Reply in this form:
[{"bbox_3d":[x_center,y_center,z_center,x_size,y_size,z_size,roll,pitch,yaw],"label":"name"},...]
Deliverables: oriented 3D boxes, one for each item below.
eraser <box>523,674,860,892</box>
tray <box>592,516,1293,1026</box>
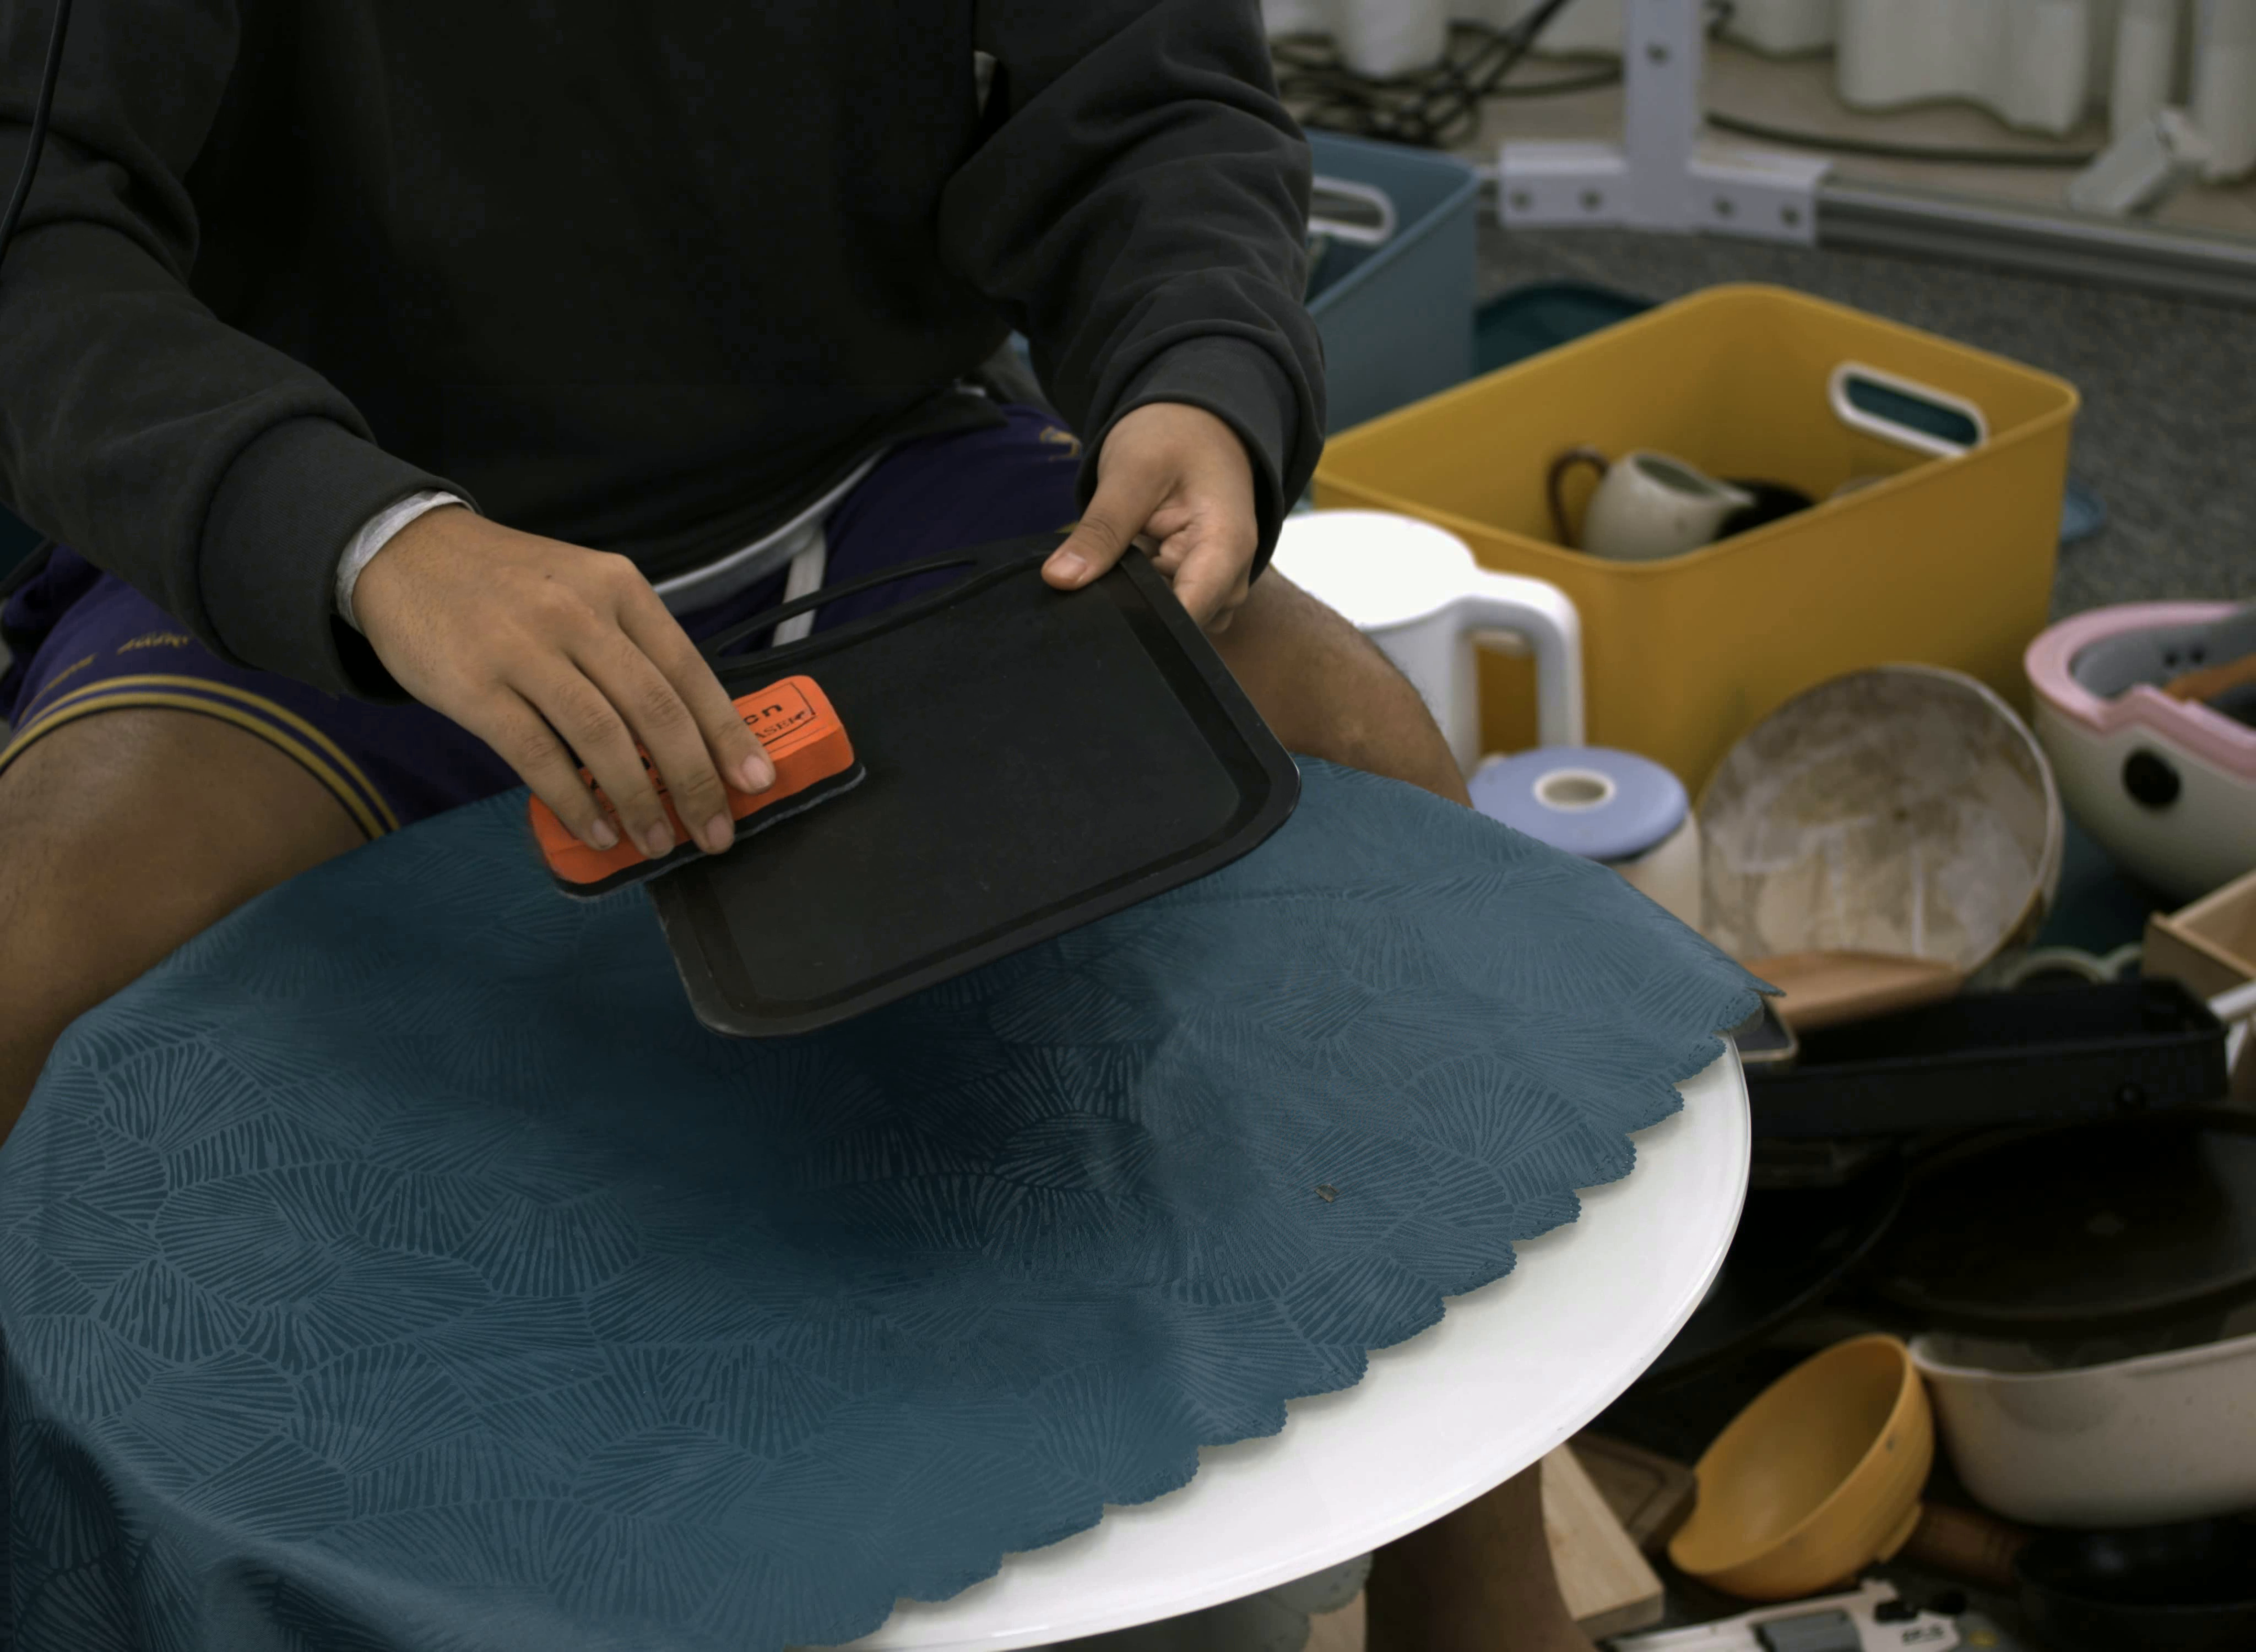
[{"bbox_3d":[-0.148,-0.015,1.904,0.108,0.022,0.059,-23,27,-13],"label":"eraser"},{"bbox_3d":[-0.072,-0.028,1.911,0.211,0.010,0.328,-21,26,-5],"label":"tray"}]
